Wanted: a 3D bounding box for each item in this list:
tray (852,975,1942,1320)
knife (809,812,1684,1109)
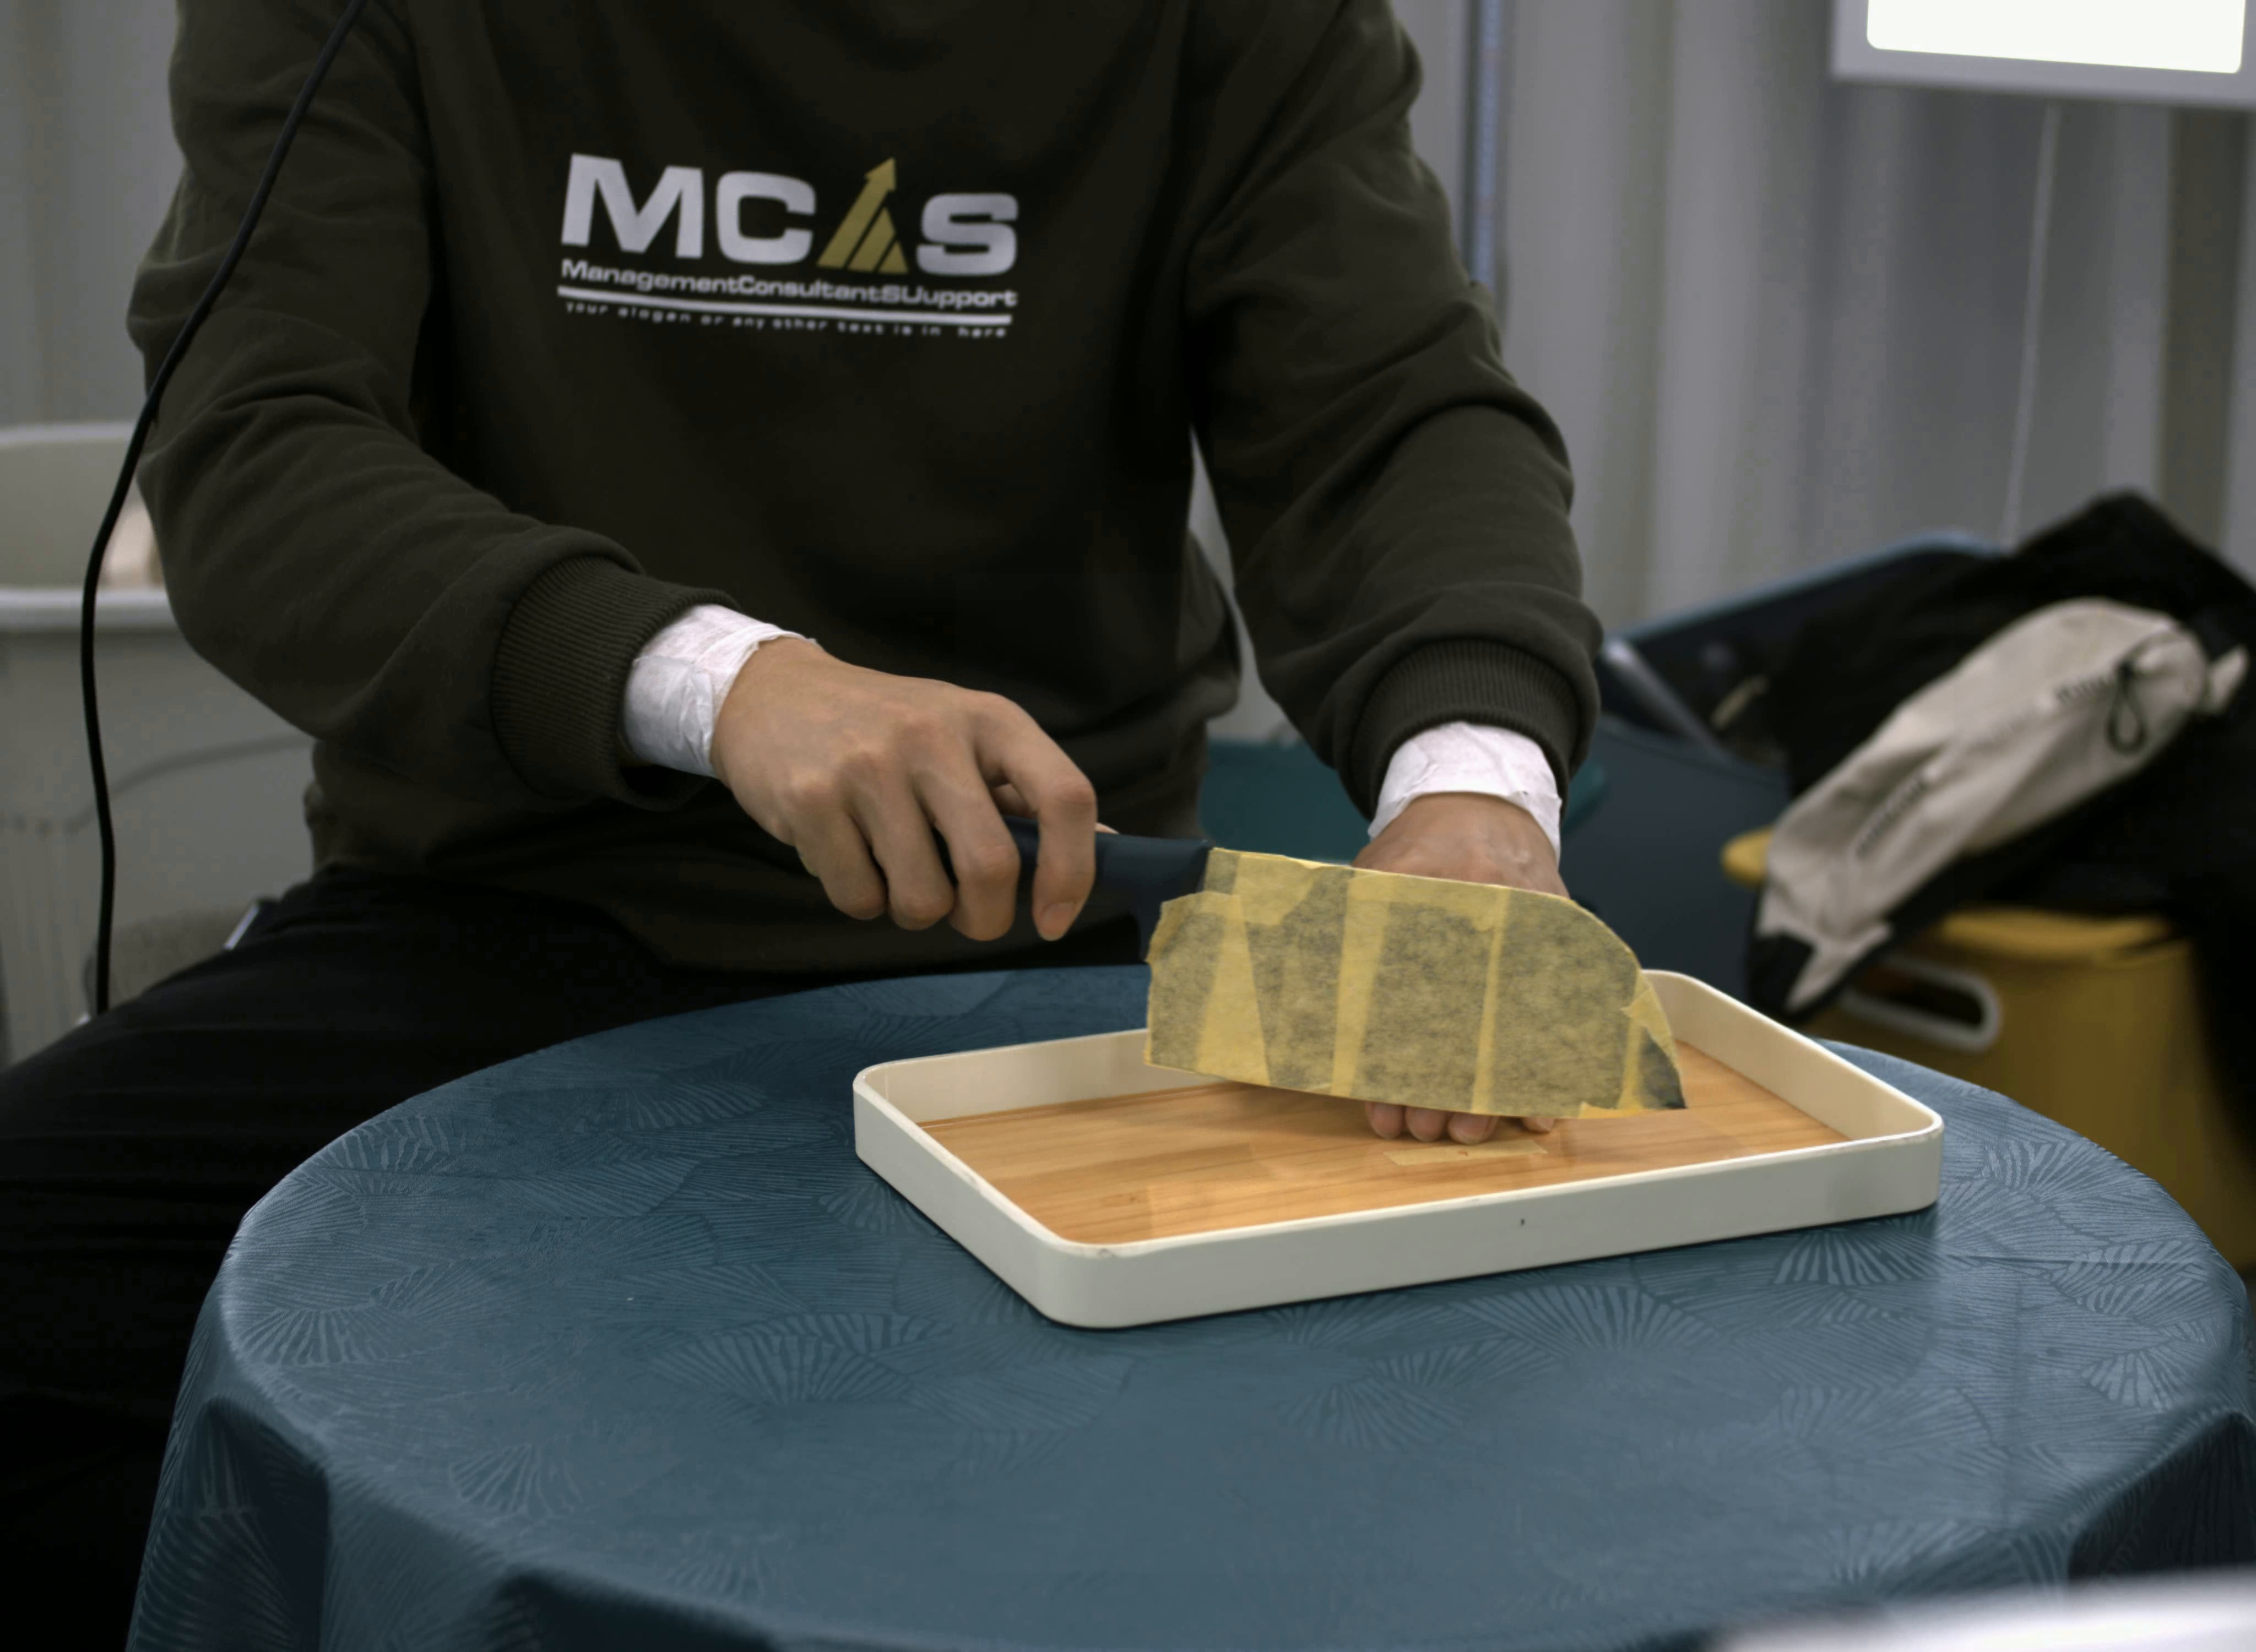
[{"bbox_3d":[0.082,0.096,1.636,0.301,0.027,0.189,-6,15,-23],"label":"tray"},{"bbox_3d":[0.035,0.041,1.654,0.287,0.081,0.027,11,6,13],"label":"knife"}]
